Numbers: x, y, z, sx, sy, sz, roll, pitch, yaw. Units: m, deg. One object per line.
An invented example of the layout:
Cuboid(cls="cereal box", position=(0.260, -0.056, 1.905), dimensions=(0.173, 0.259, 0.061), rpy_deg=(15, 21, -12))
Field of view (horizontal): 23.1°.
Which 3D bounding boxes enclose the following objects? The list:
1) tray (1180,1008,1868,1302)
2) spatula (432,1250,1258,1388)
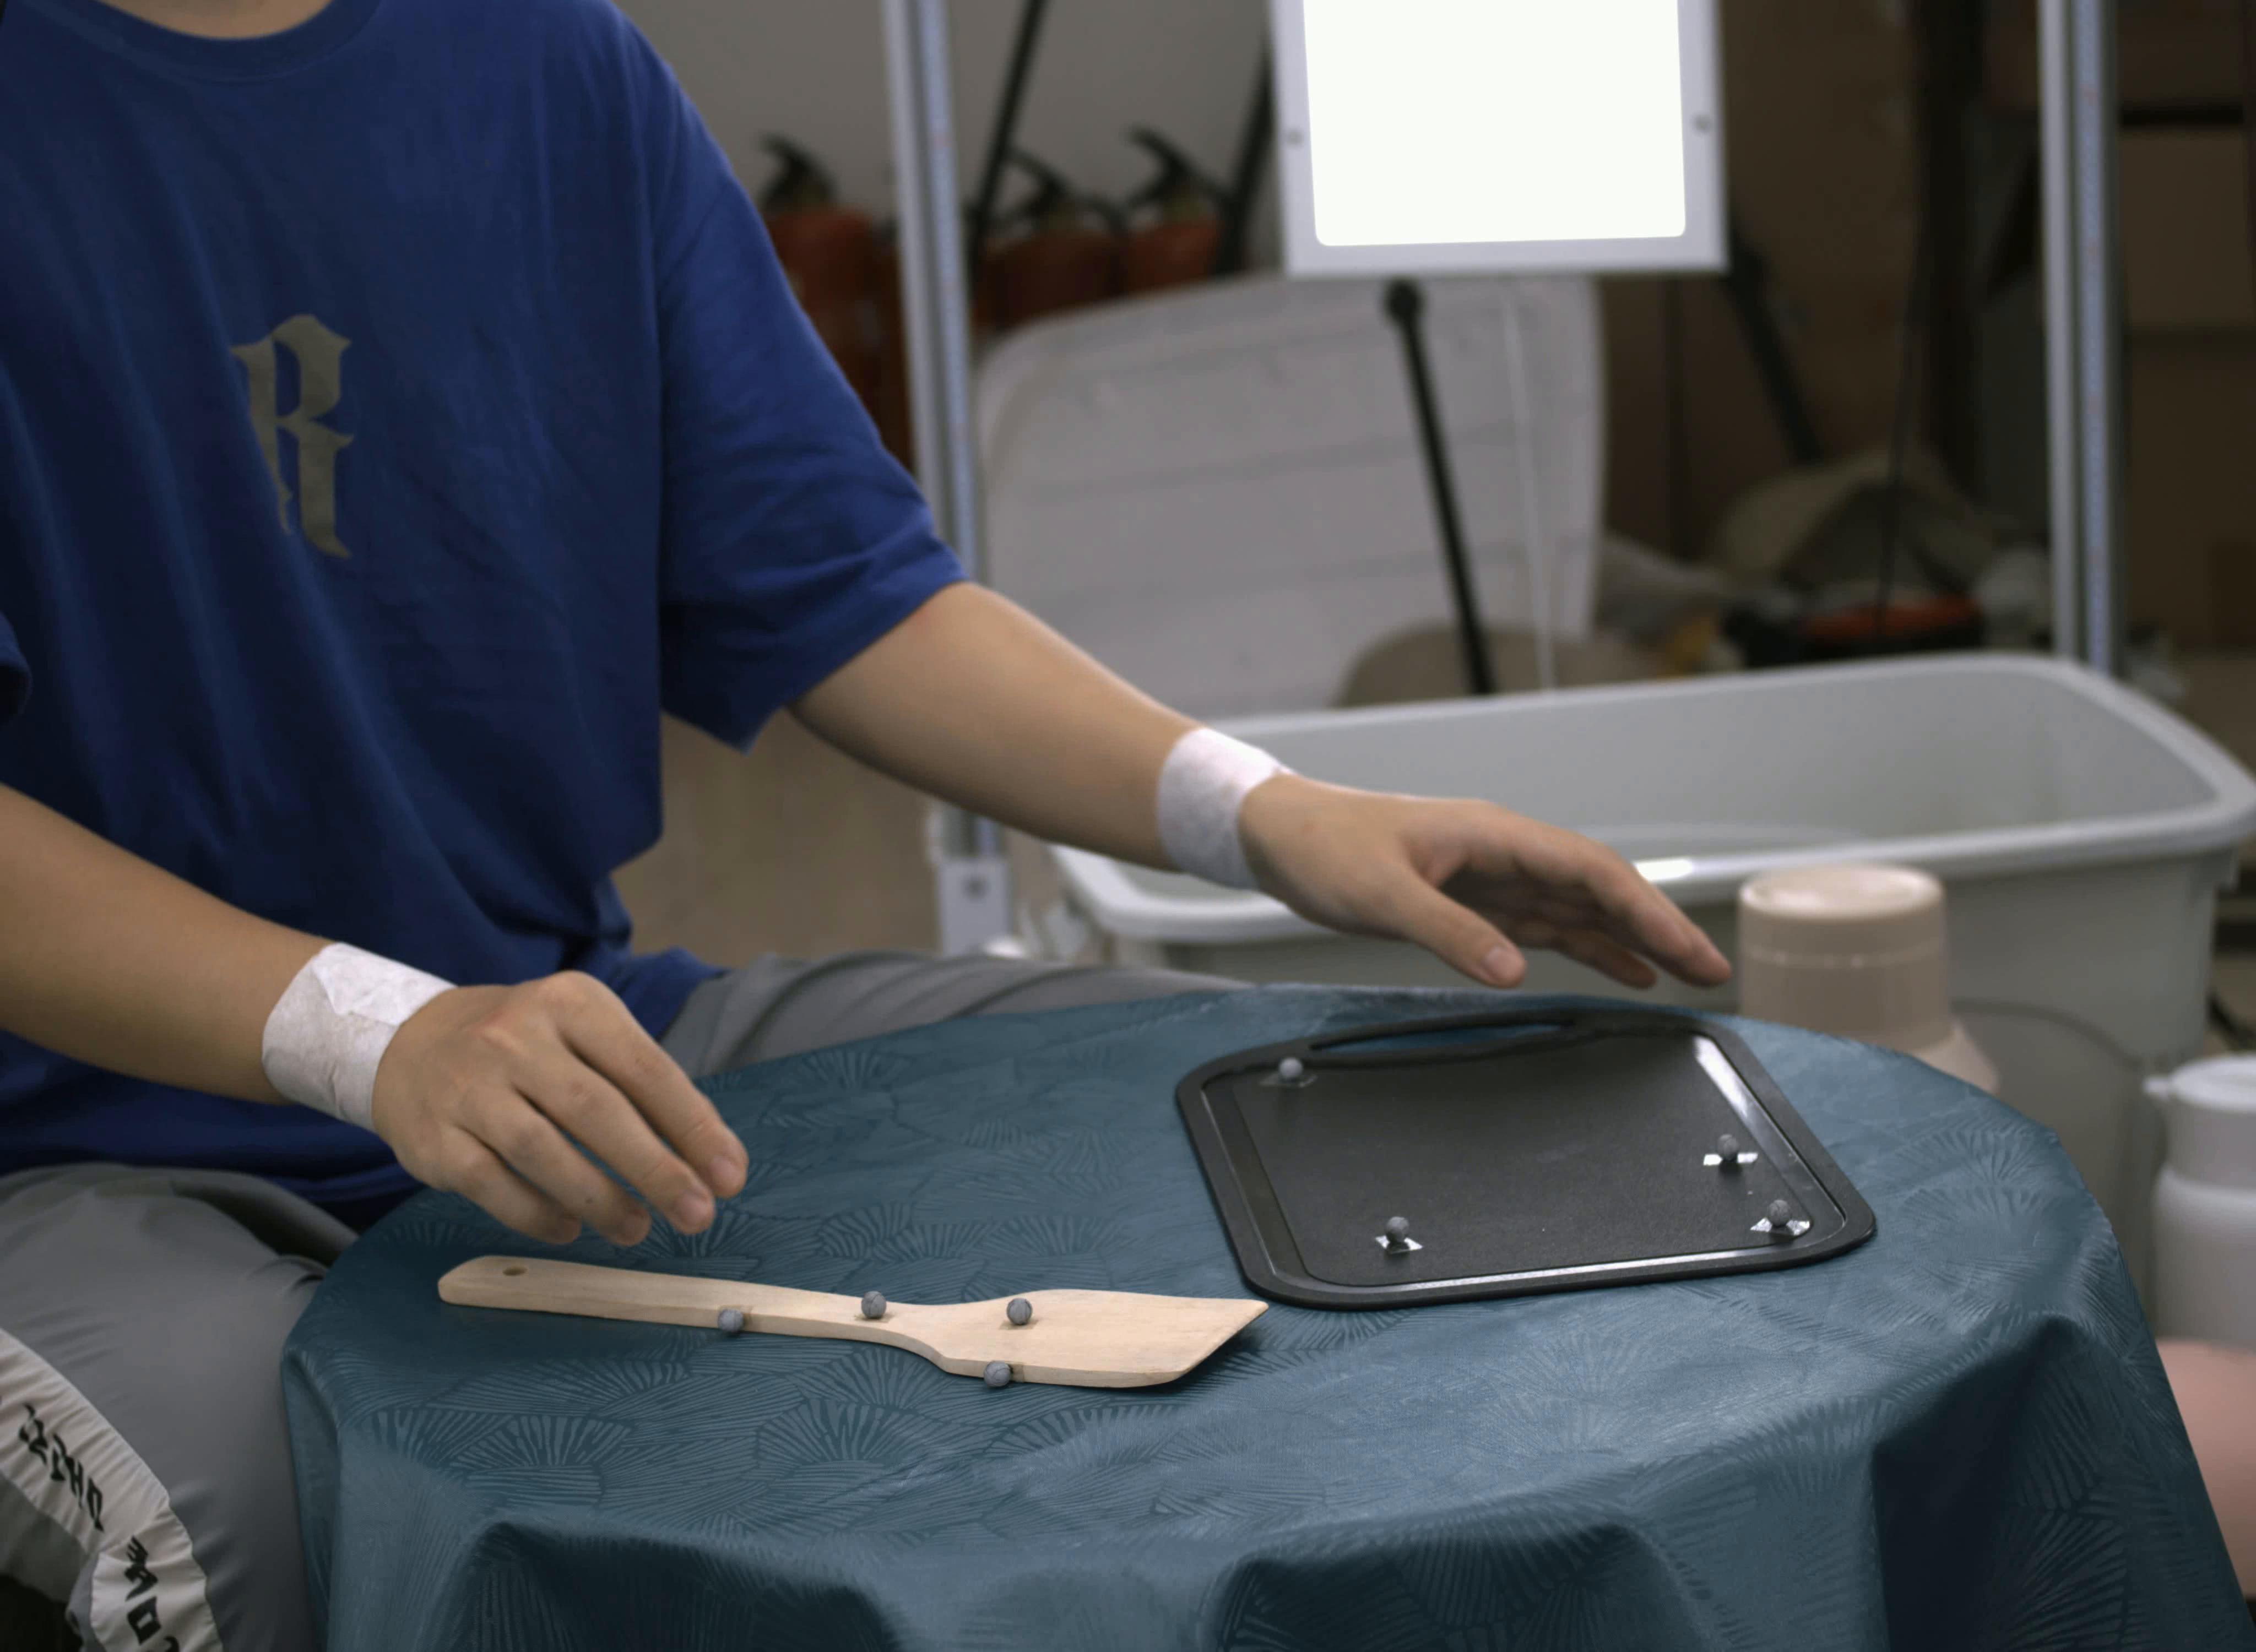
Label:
Cuboid(cls="tray", position=(0.130, 0.108, 1.910), dimensions=(0.210, 0.010, 0.325), rpy_deg=(-6, 14, -2))
Cuboid(cls="spatula", position=(-0.101, 0.157, 1.789), dimensions=(0.298, 0.011, 0.071), rpy_deg=(3, 17, 29))
